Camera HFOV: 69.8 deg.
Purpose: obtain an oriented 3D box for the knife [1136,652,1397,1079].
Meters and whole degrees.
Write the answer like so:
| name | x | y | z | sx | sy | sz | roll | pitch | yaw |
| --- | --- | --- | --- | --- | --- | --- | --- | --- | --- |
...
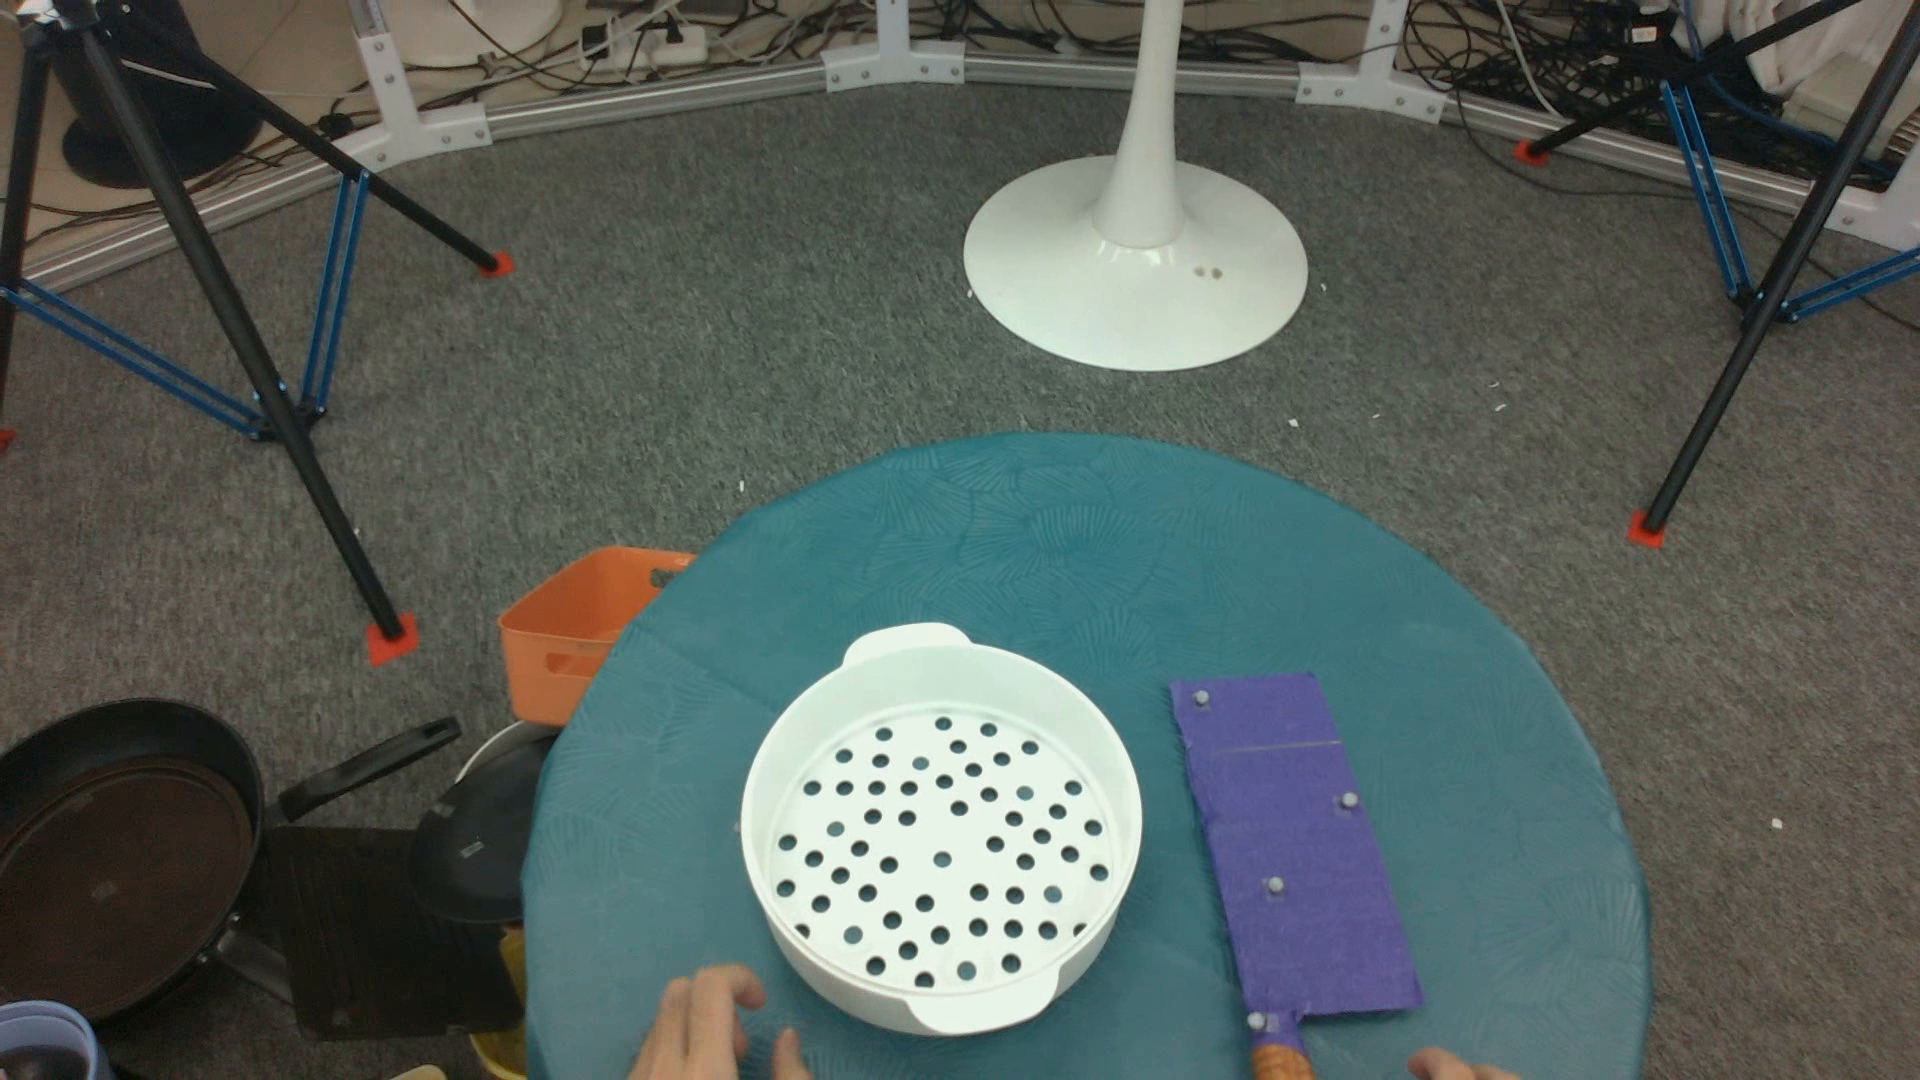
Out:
| name | x | y | z | sx | sy | sz | roll | pitch | yaw |
| --- | --- | --- | --- | --- | --- | --- | --- | --- | --- |
| knife | 0.170 | 0.184 | 0.713 | 0.104 | 0.032 | 0.316 | -3 | 49 | -5 |

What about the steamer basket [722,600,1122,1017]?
| name | x | y | z | sx | sy | sz | roll | pitch | yaw |
| --- | --- | --- | --- | --- | --- | --- | --- | --- | --- |
| steamer basket | -0.019 | 0.141 | 0.718 | 0.202 | 0.069 | 0.231 | -9 | 53 | -8 |
